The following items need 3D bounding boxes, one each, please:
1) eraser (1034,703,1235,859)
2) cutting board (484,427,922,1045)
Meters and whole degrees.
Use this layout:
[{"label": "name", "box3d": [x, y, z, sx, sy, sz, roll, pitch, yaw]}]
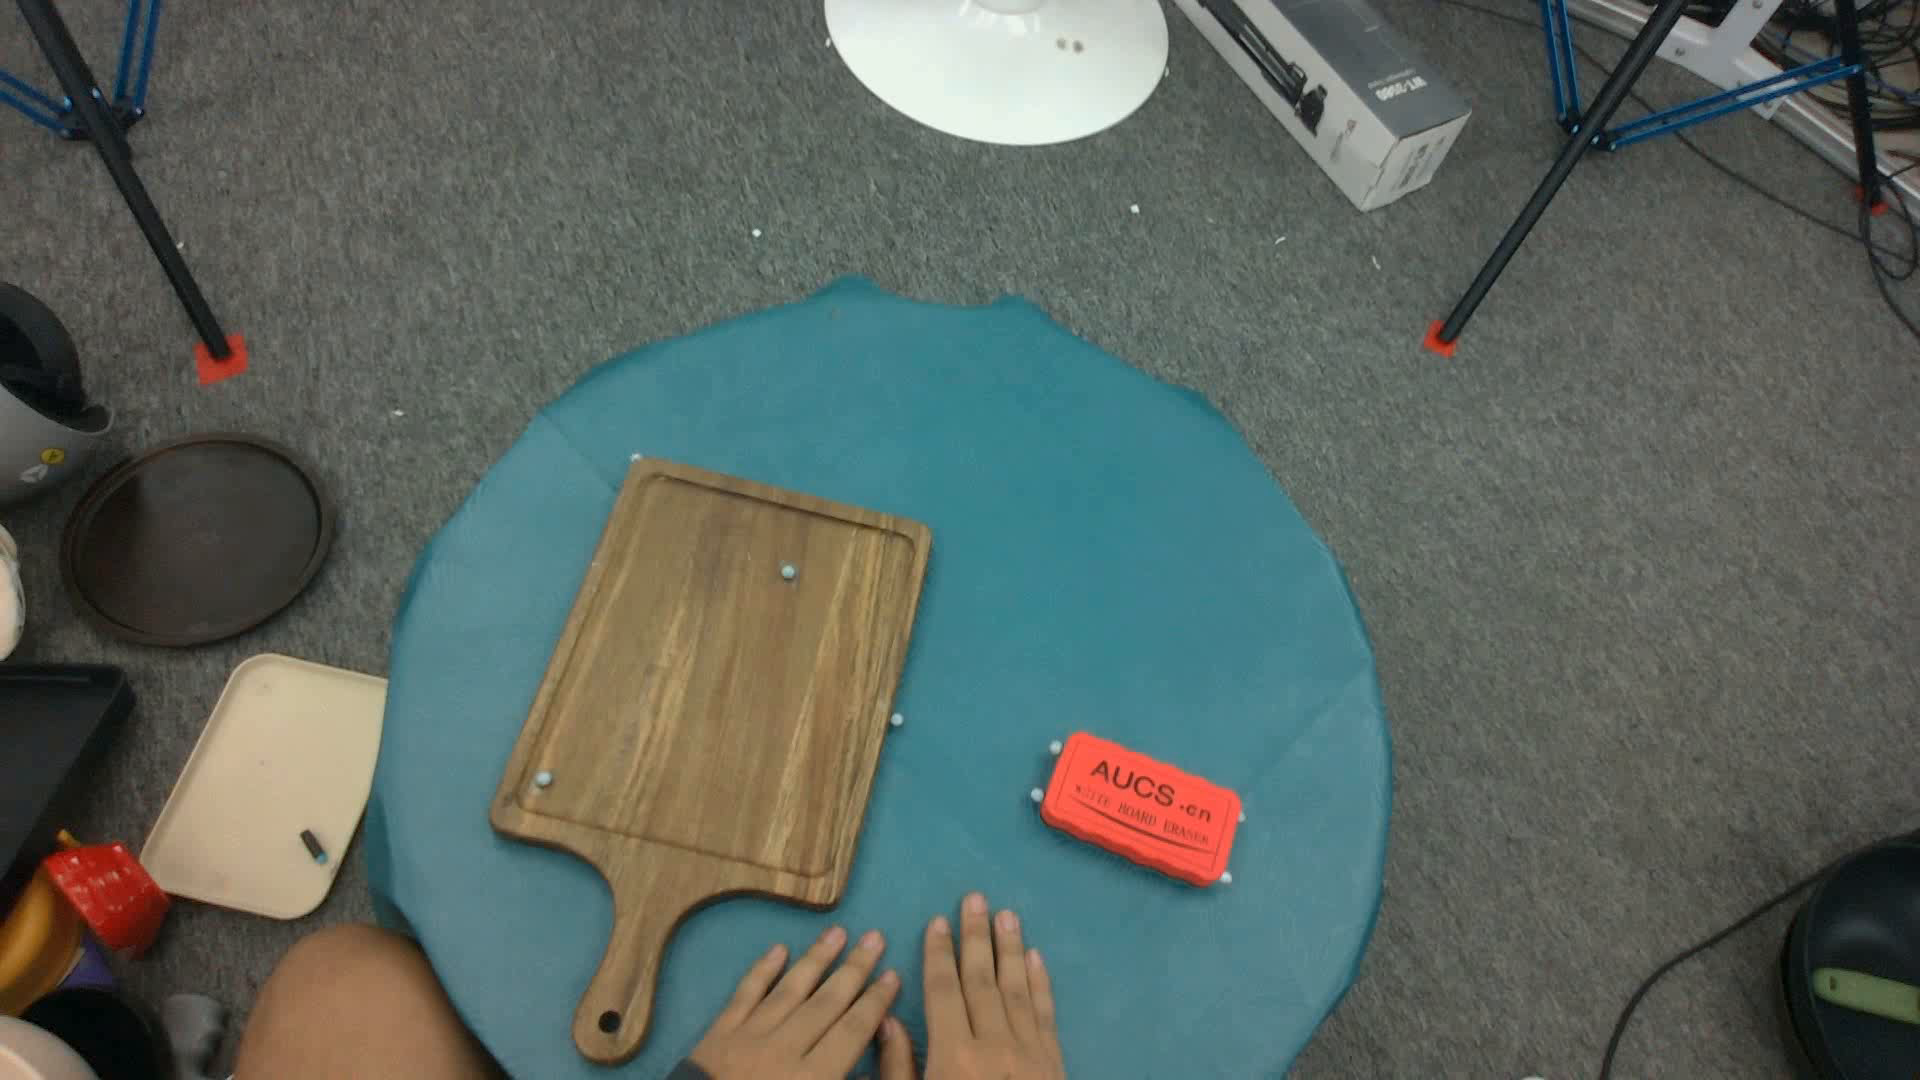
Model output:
[{"label": "eraser", "box3d": [0.101, 0.139, 0.794, 0.108, 0.023, 0.059, 21, 60, 2]}, {"label": "cutting board", "box3d": [-0.149, 0.101, 0.779, 0.201, 0.023, 0.353, 13, 61, -2]}]
